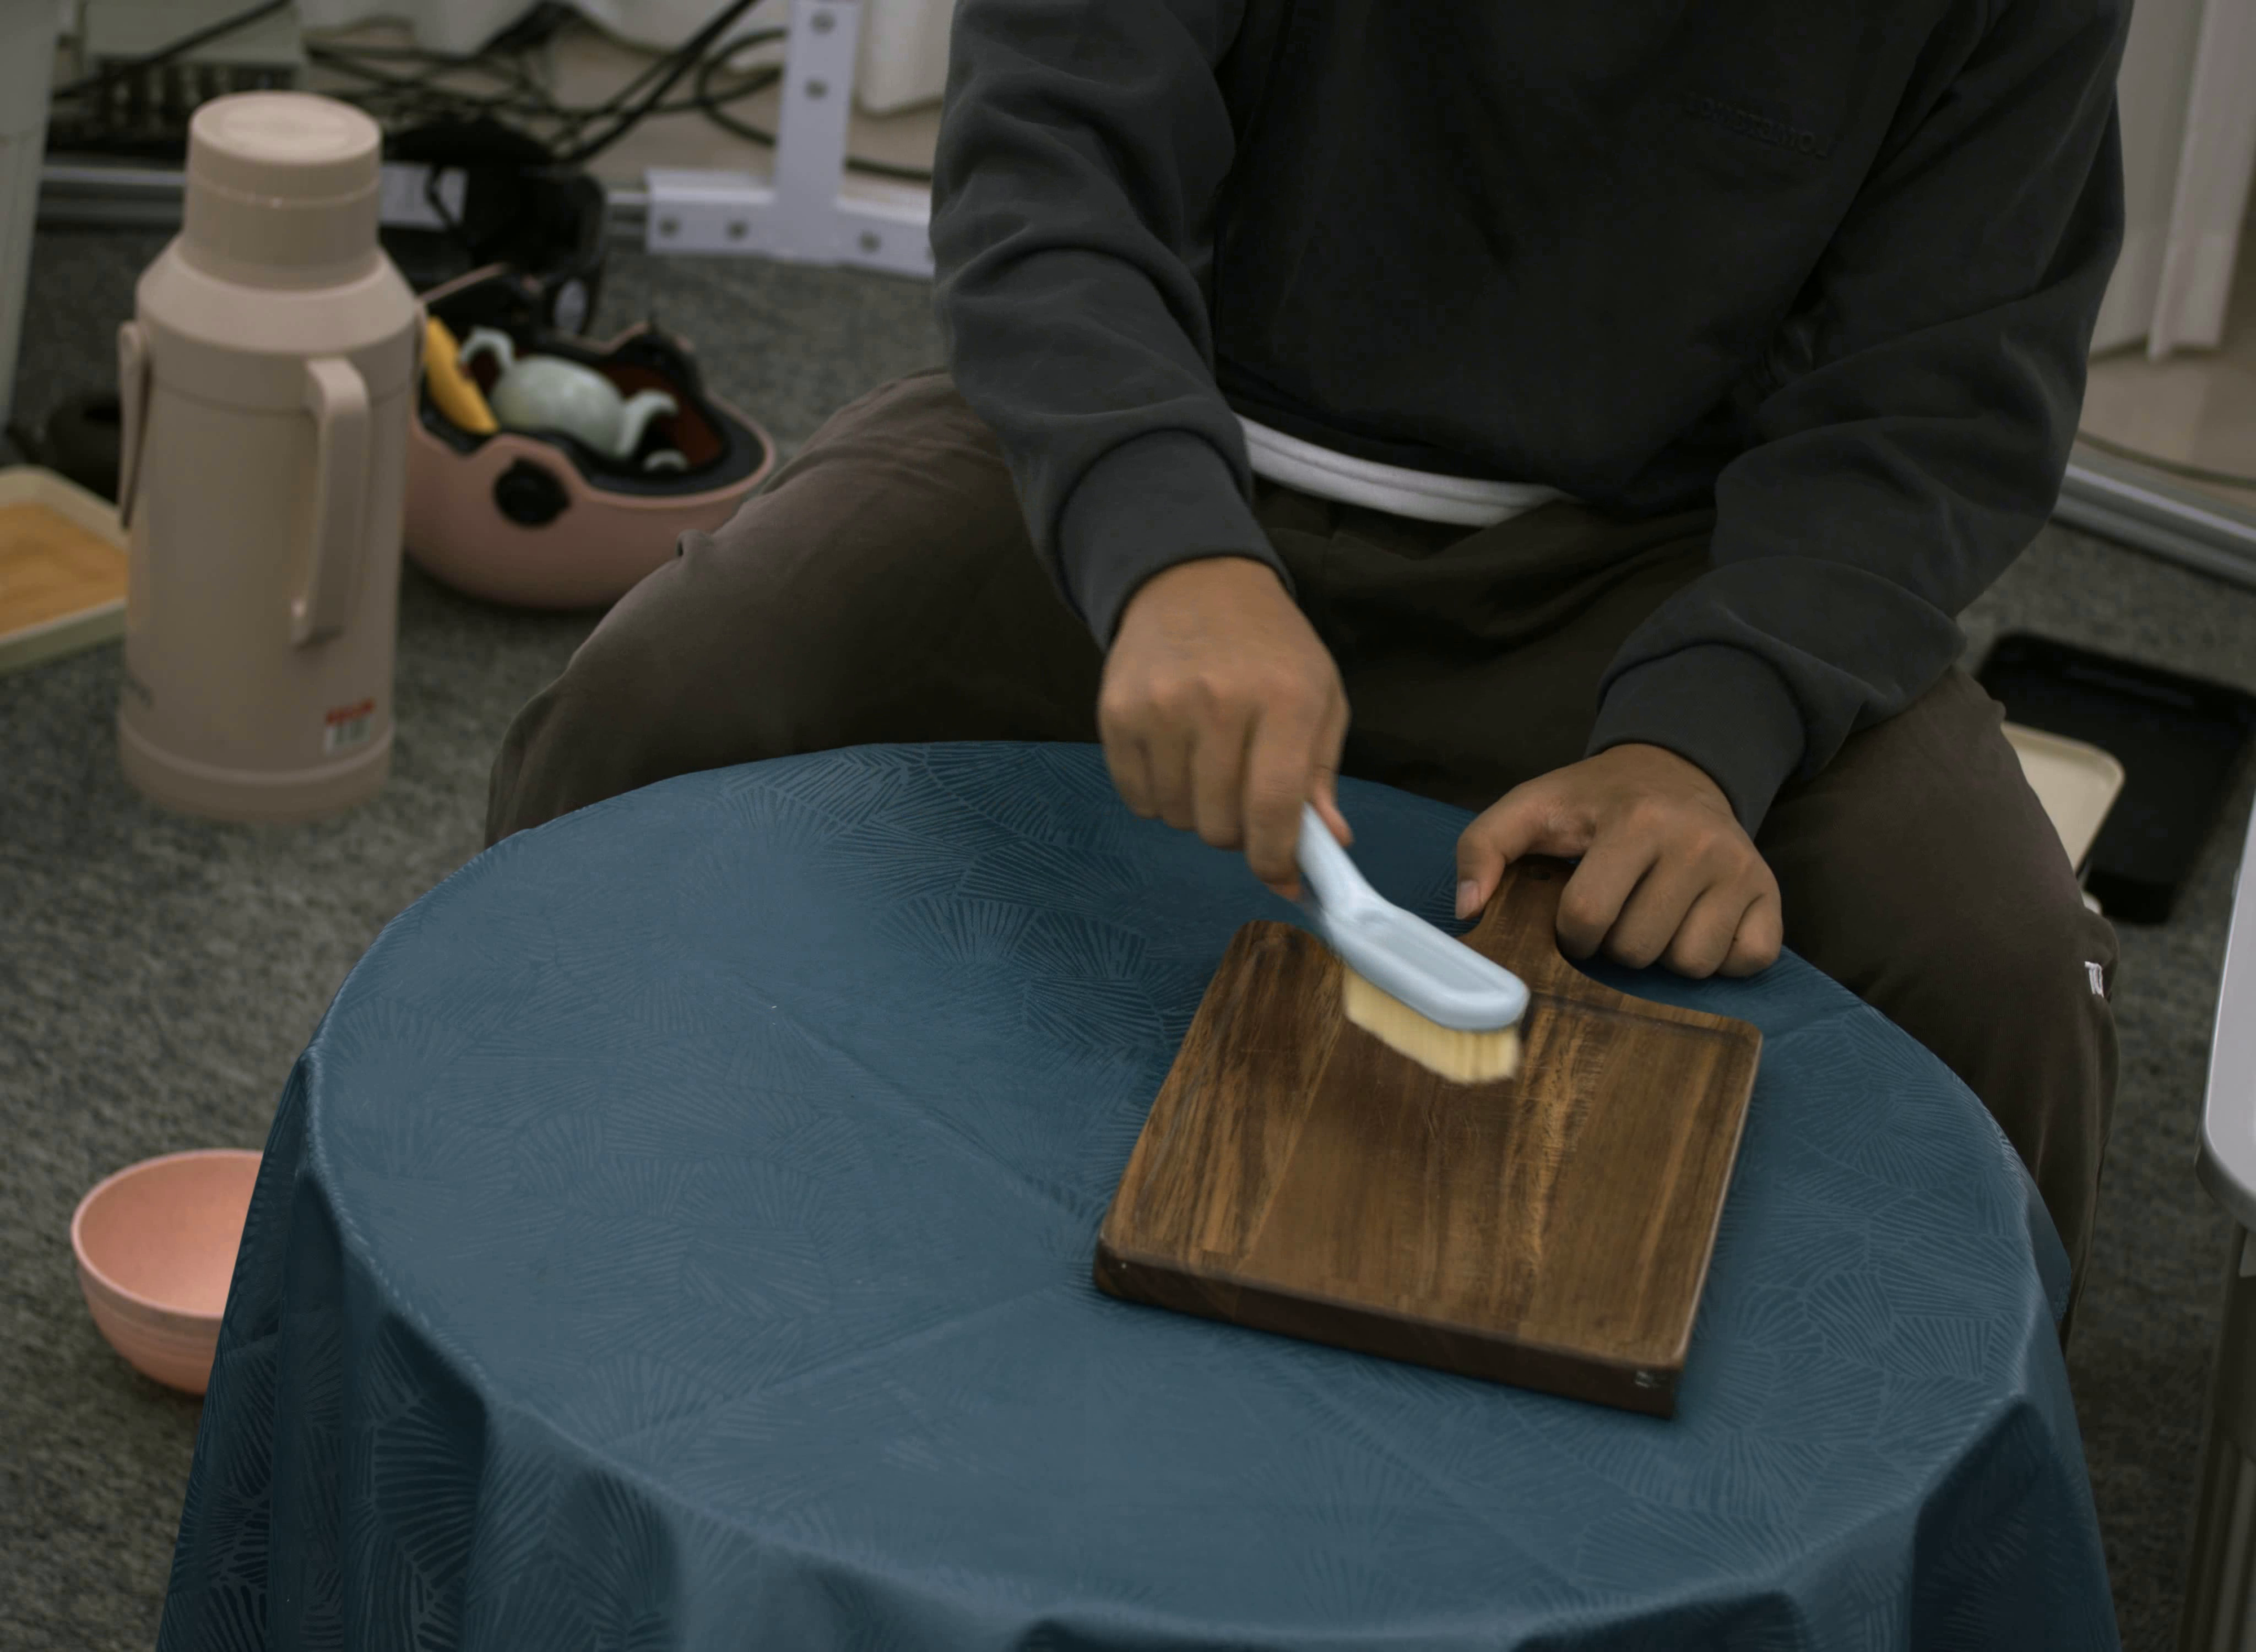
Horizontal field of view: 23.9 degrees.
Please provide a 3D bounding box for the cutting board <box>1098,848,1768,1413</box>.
[{"bbox_3d":[0.121,0.091,1.876,0.201,0.023,0.353,12,27,9],"label":"cutting board"}]

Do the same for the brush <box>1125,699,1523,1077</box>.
[{"bbox_3d":[0.064,0.019,1.872,0.037,0.049,0.231,-13,38,-30],"label":"brush"}]
